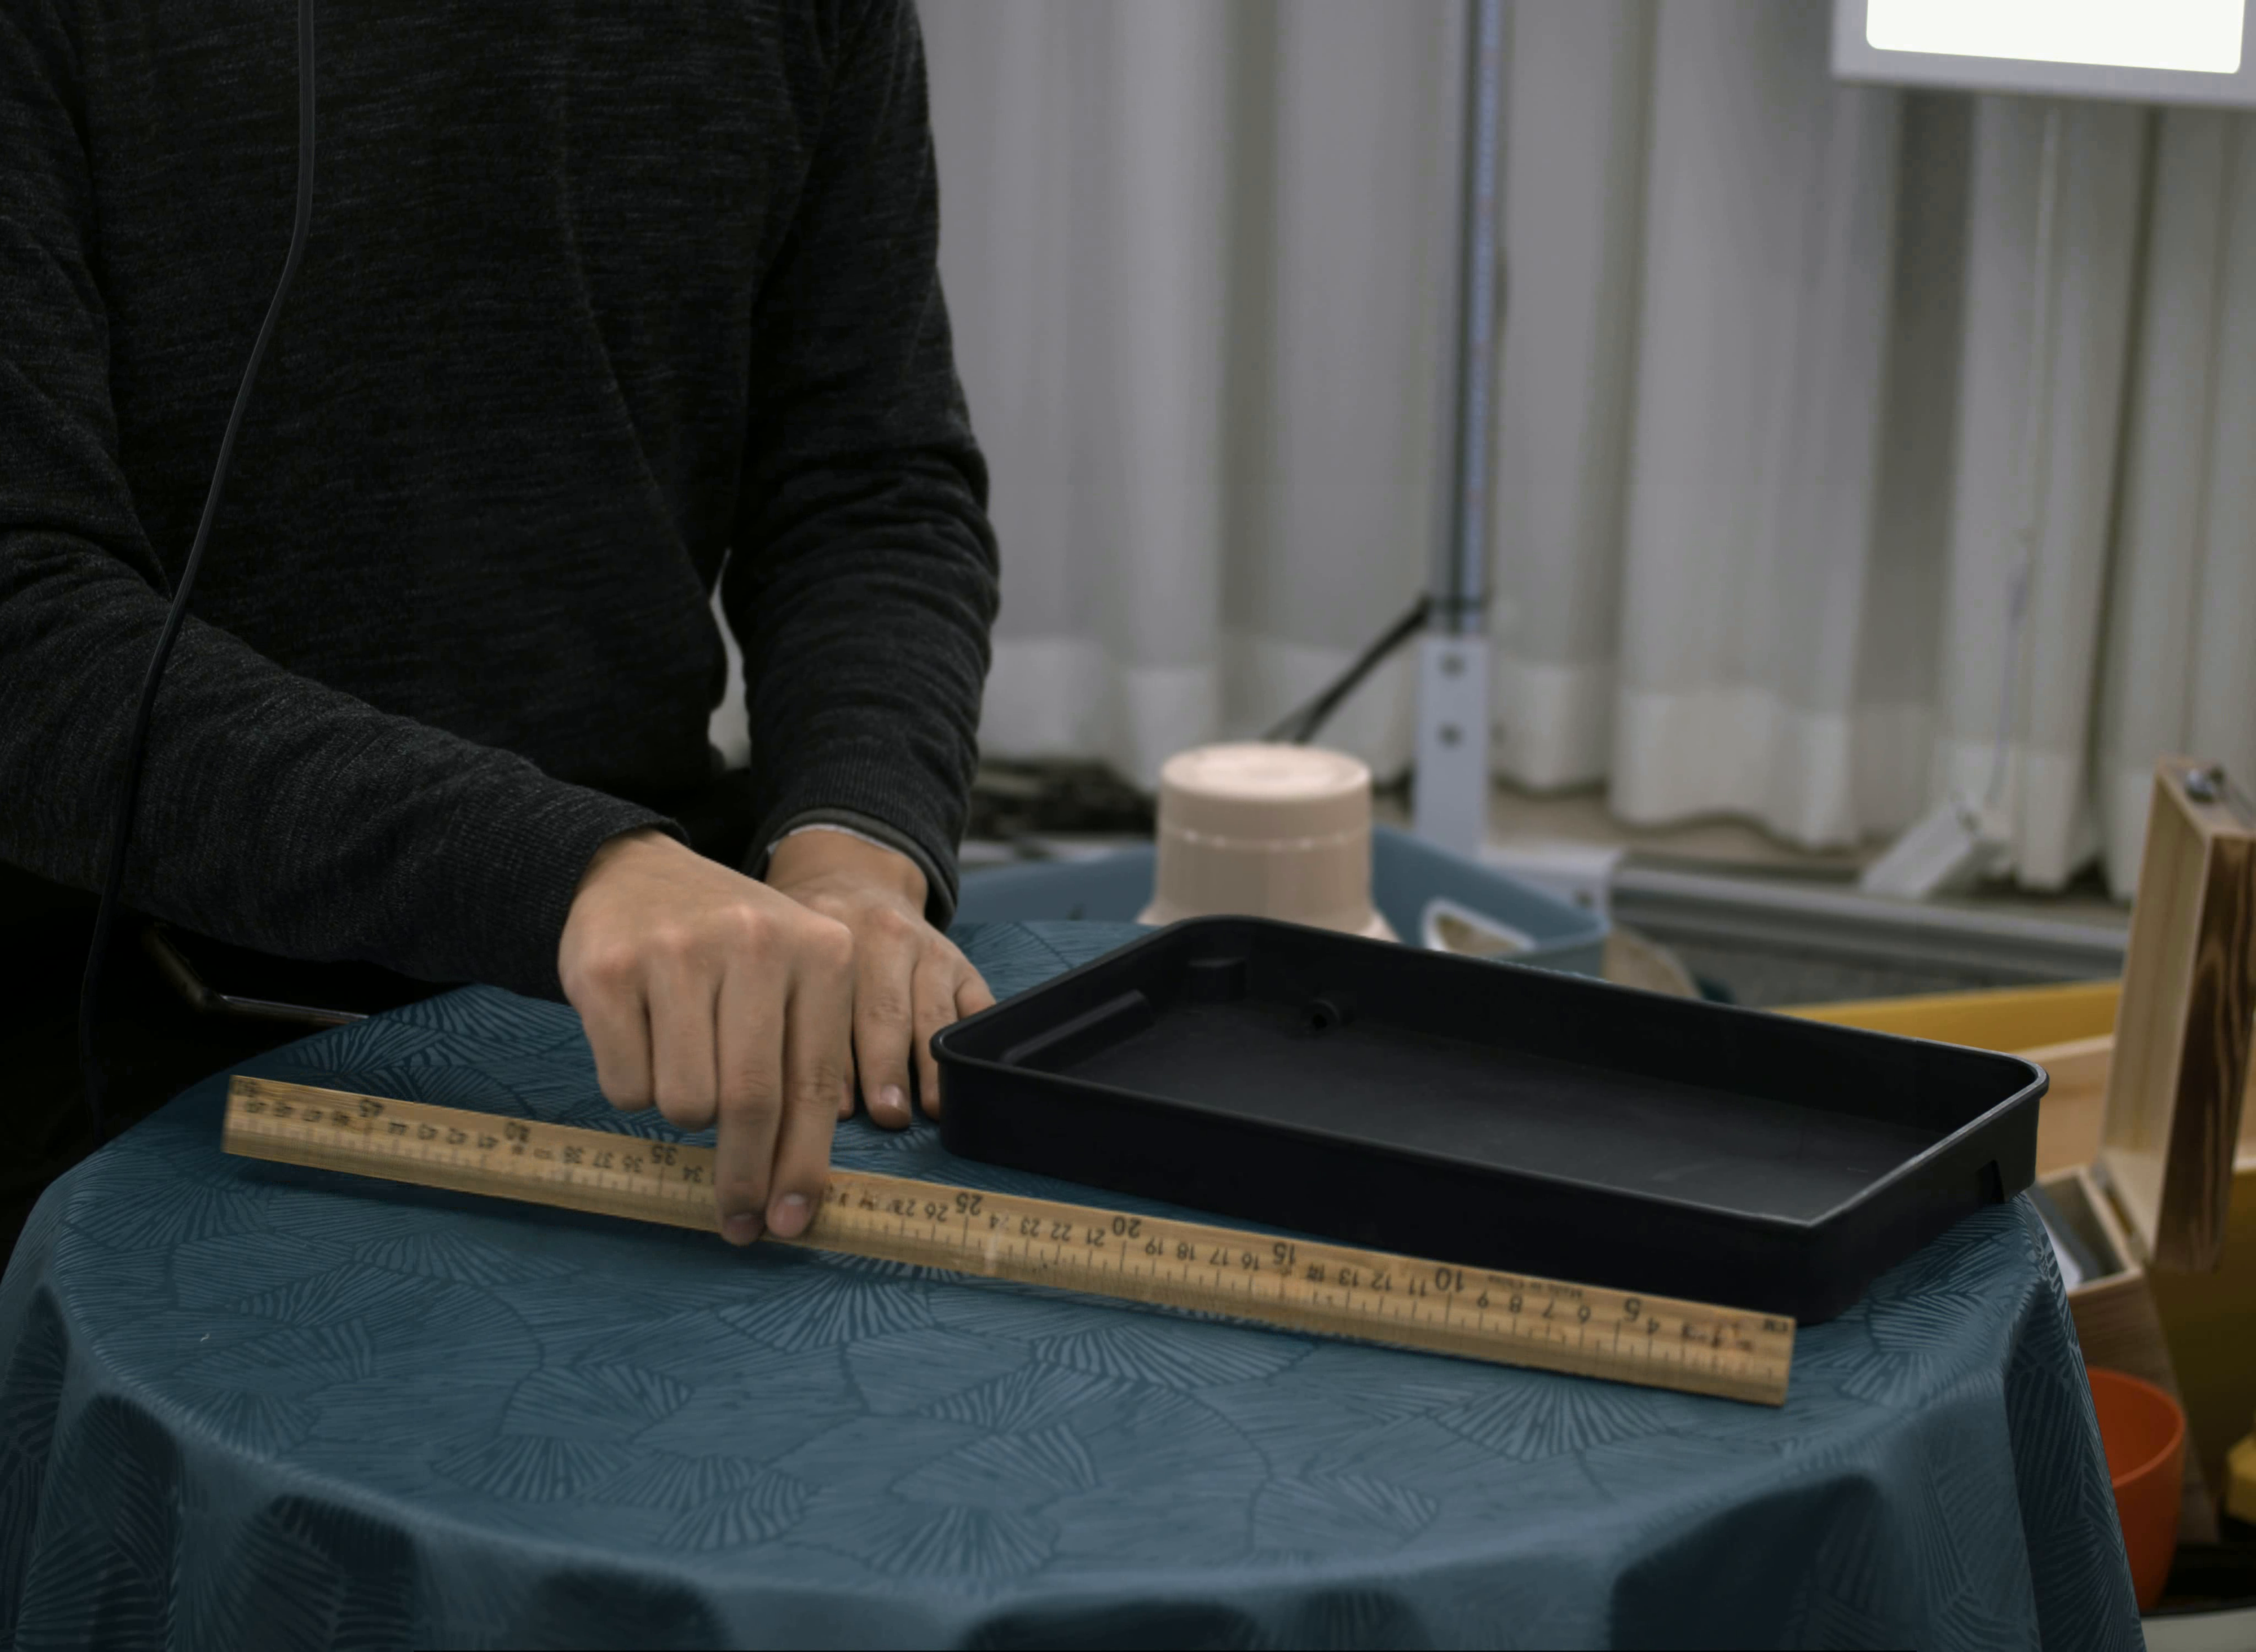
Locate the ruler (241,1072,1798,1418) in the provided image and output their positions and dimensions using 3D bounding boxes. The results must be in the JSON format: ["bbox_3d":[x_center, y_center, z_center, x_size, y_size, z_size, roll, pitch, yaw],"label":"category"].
[{"bbox_3d":[-0.045,0.119,1.539,0.495,0.027,0.006,8,-1,21],"label":"ruler"}]

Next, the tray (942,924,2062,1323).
[{"bbox_3d":[0.115,0.088,1.645,0.314,0.037,0.185,9,17,30],"label":"tray"}]
